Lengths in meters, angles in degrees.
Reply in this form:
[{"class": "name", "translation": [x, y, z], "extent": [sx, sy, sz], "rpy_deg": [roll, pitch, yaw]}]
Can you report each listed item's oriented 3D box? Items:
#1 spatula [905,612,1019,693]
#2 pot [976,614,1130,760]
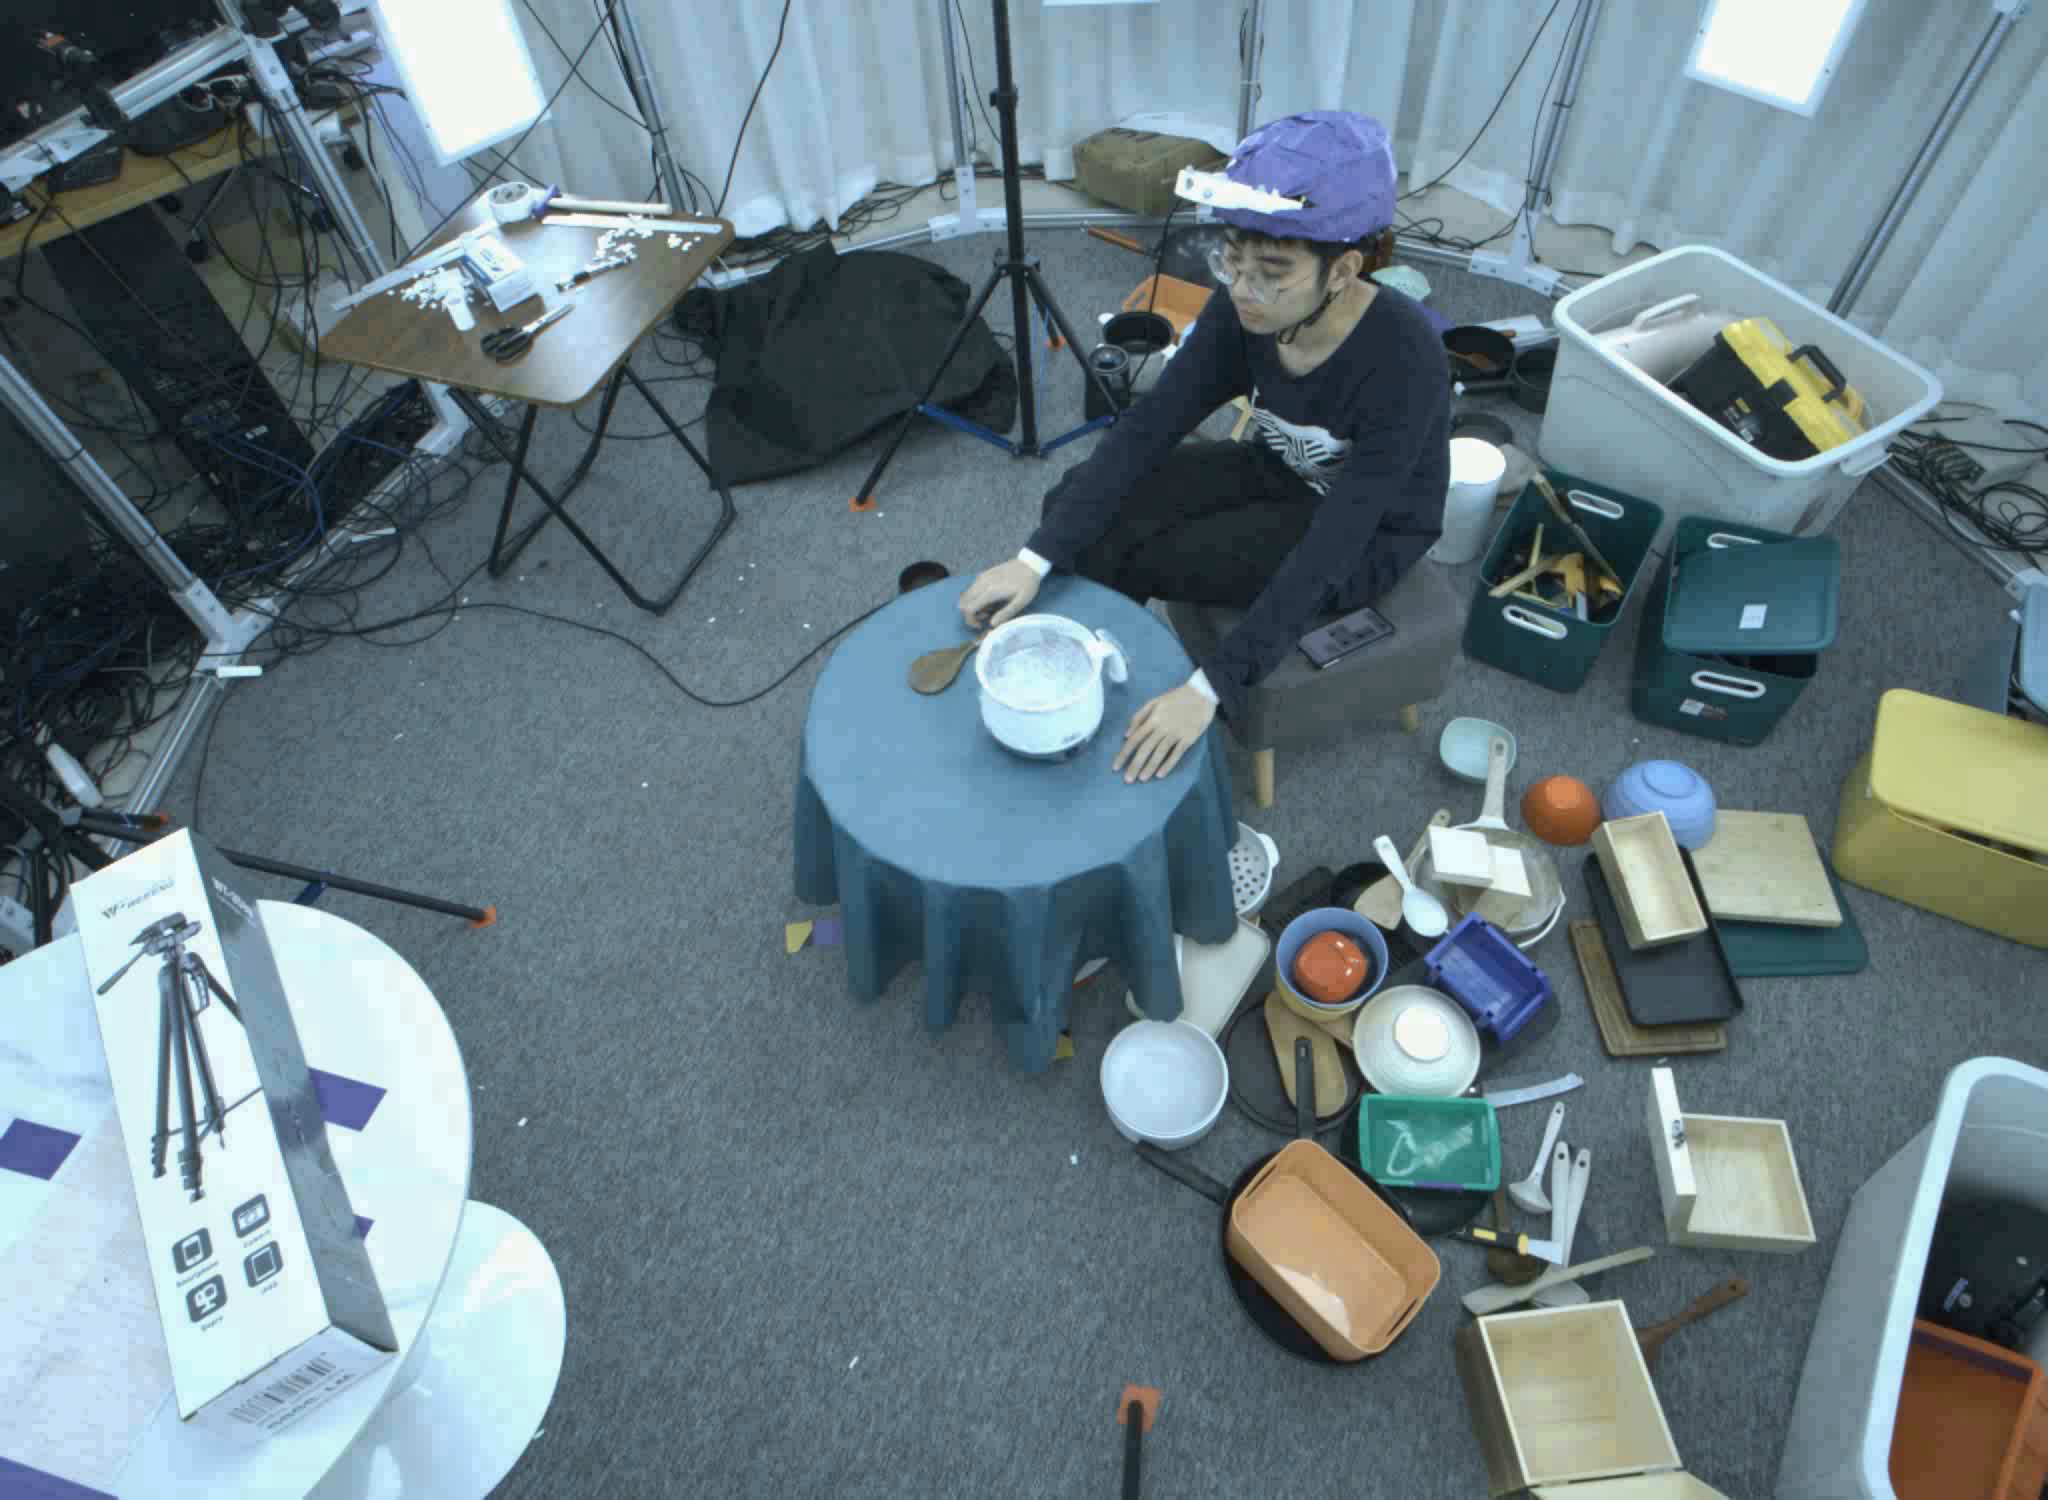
[{"class": "spatula", "translation": [-0.089, -0.155, 1.905], "extent": [0.217, 0.009, 0.070], "rpy_deg": [-35, 63, -23]}, {"class": "pot", "translation": [0.048, -0.100, 1.779], "extent": [0.235, 0.138, 0.175], "rpy_deg": [-28, 60, -15]}]
